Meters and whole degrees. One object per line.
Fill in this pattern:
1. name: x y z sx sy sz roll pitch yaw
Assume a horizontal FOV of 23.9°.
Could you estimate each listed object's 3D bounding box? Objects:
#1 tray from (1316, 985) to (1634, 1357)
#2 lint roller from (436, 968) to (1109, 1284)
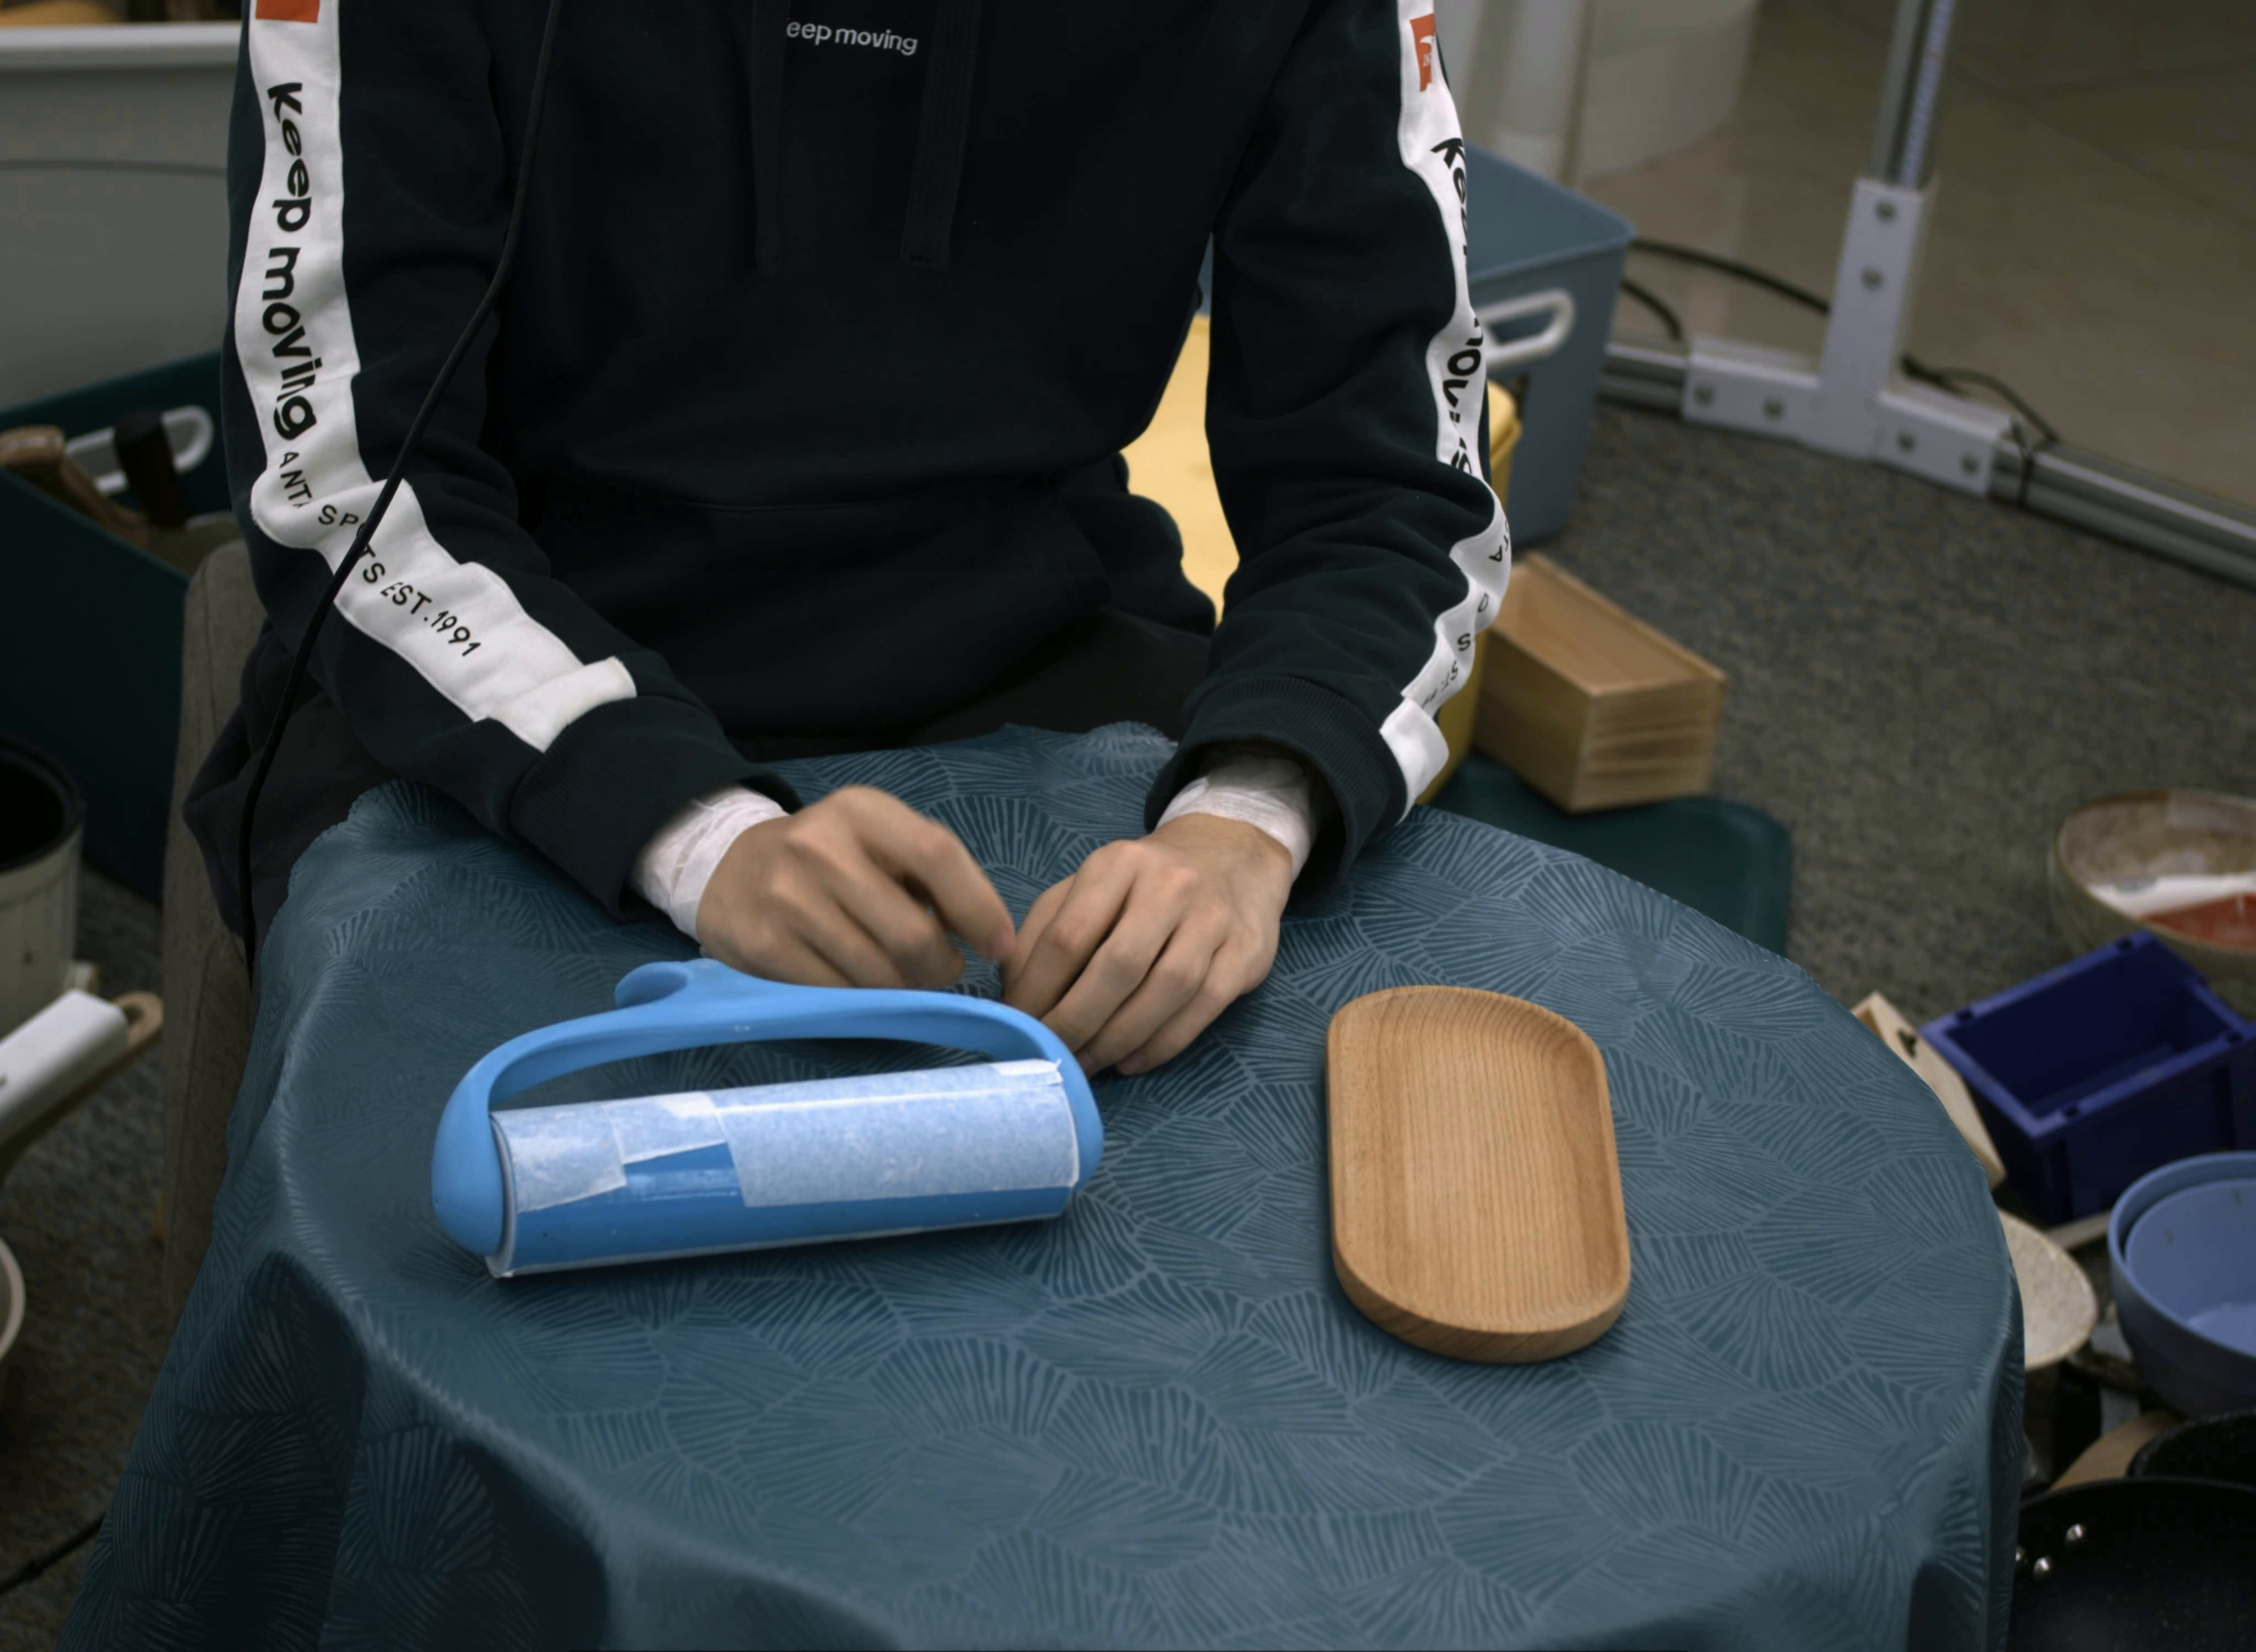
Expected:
1. tray: 0.116 0.116 1.823 0.101 0.020 0.232 6 25 -3
2. lint roller: -0.137 0.083 1.785 0.227 0.067 0.182 -7 31 -22
